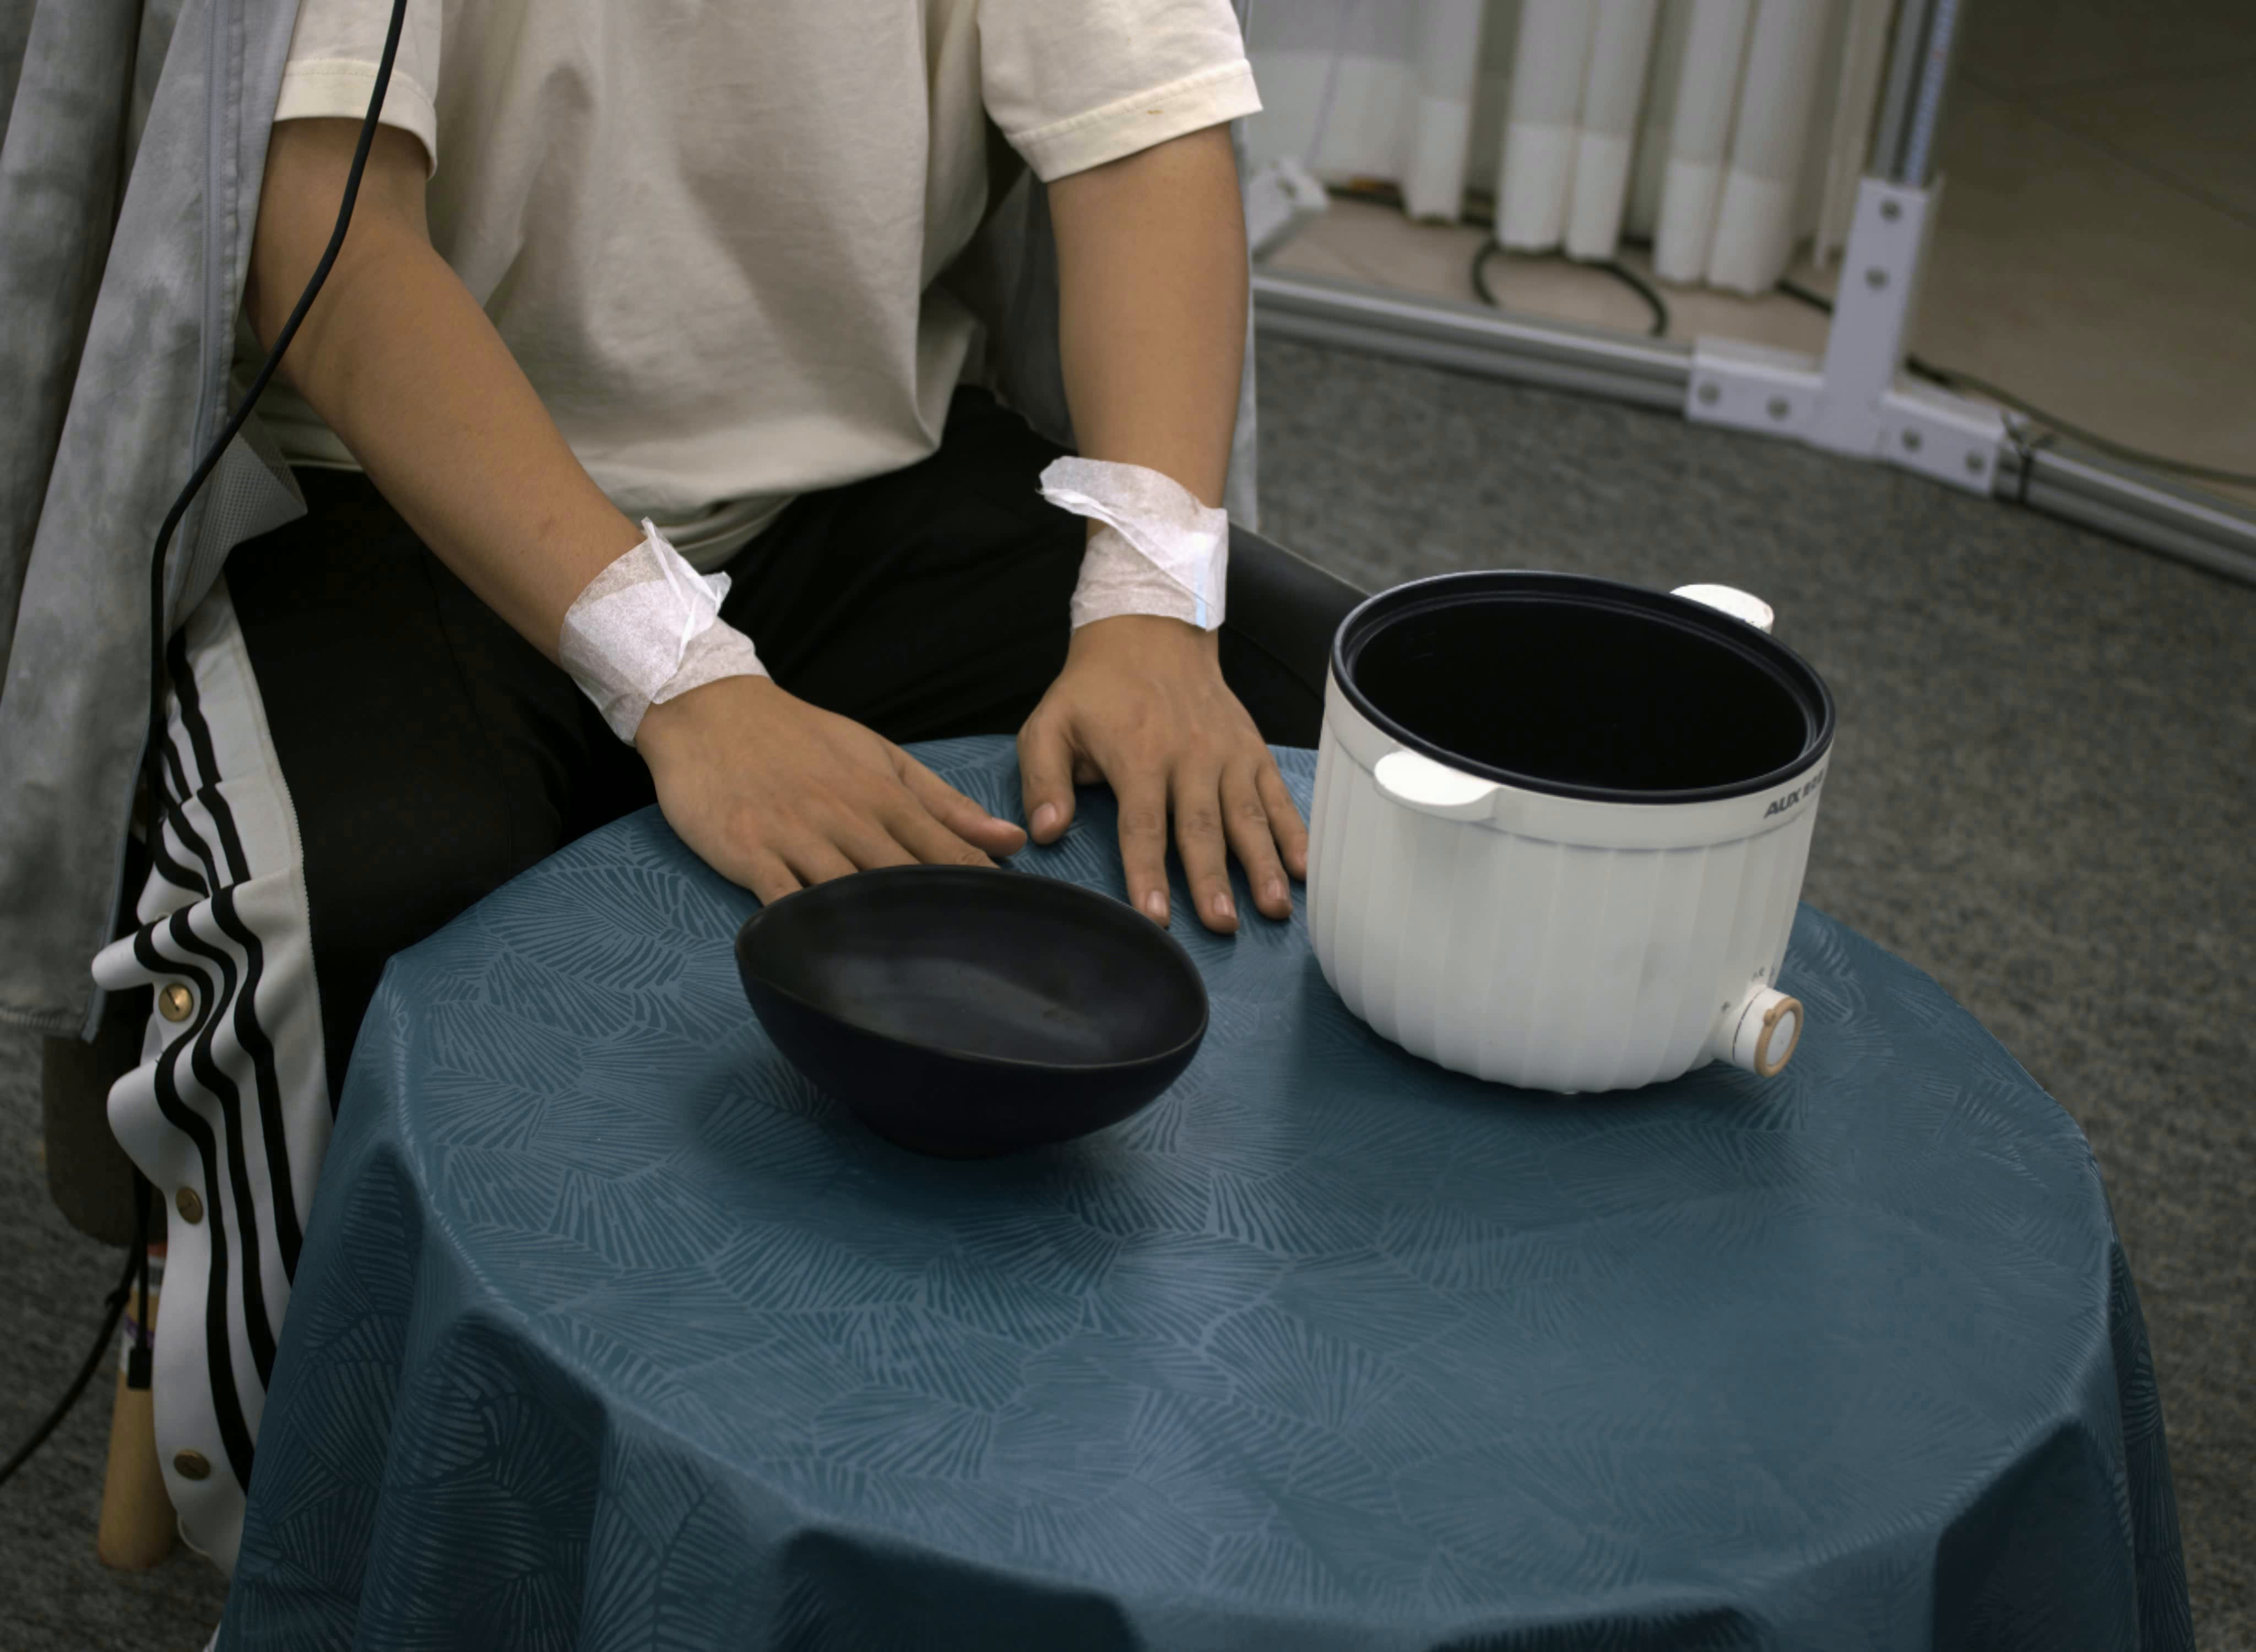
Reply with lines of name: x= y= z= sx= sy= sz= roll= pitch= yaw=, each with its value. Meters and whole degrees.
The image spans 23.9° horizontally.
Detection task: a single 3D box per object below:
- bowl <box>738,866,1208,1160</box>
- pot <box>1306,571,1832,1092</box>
bowl: x=-0.057 y=0.072 z=1.824 sx=0.171 sy=0.066 sz=0.137 roll=16 pitch=27 yaw=20
pot: x=0.159 y=0.008 z=1.917 sx=0.191 sy=0.142 sz=0.240 roll=19 pitch=30 yaw=30
